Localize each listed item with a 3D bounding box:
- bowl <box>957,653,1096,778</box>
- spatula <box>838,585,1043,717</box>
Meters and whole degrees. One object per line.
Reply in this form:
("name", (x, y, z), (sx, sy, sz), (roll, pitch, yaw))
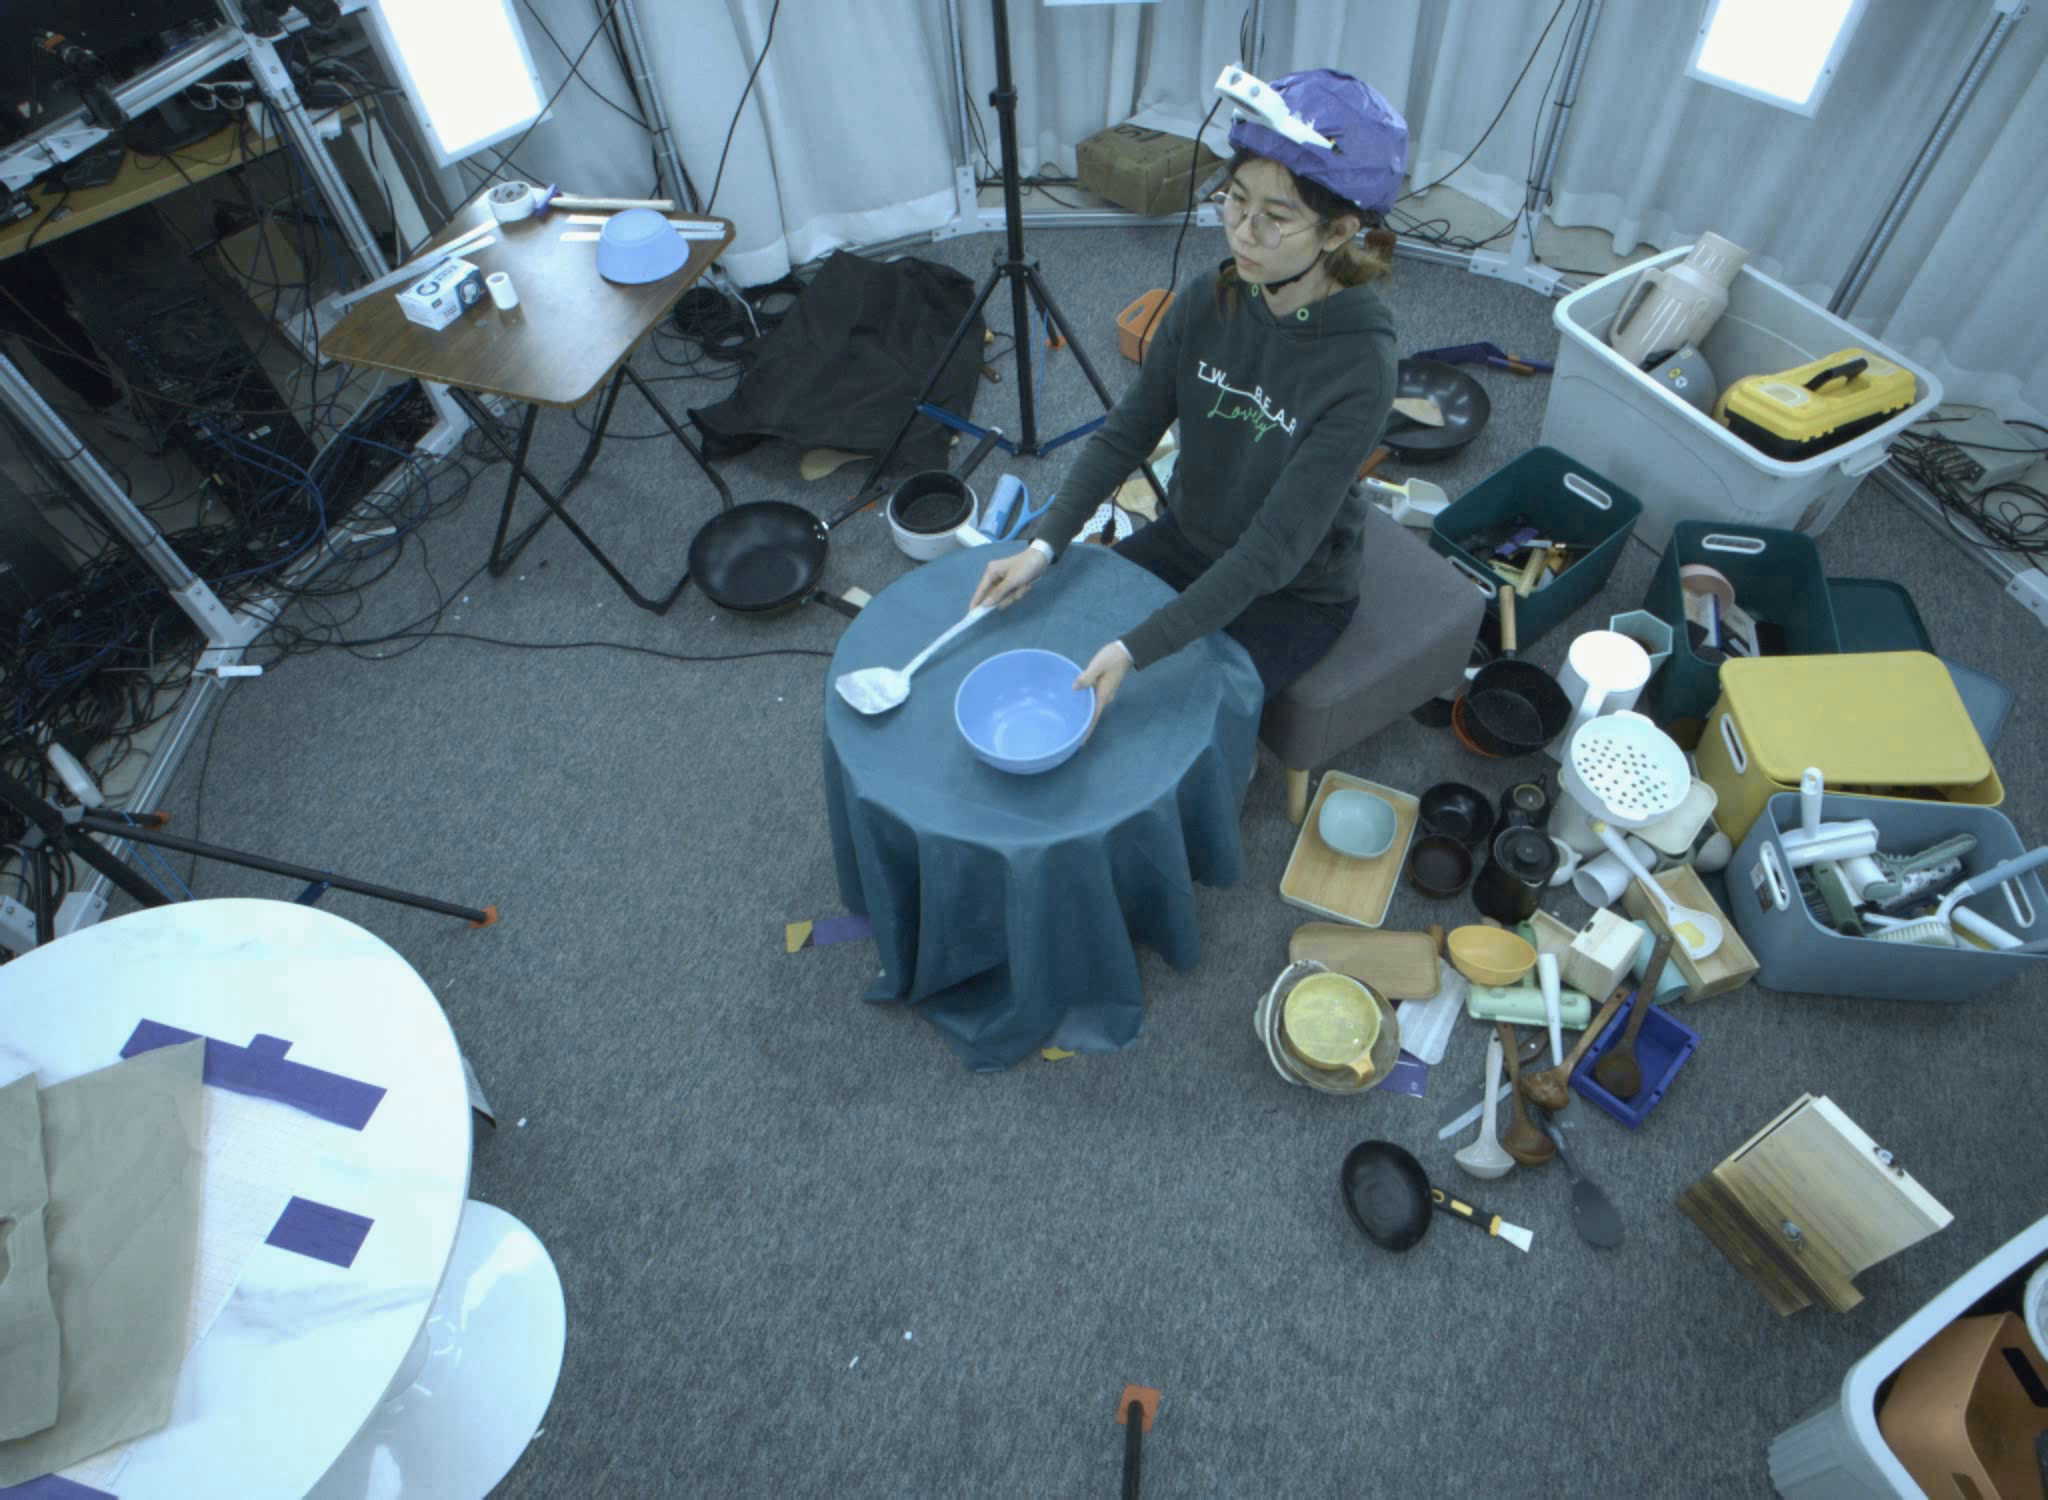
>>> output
("bowl", (0.007, -0.035, 1.761), (0.196, 0.096, 0.194), (-2, 56, 4))
("spatula", (-0.120, -0.166, 1.879), (0.367, 0.045, 0.096), (-38, 57, -15))
